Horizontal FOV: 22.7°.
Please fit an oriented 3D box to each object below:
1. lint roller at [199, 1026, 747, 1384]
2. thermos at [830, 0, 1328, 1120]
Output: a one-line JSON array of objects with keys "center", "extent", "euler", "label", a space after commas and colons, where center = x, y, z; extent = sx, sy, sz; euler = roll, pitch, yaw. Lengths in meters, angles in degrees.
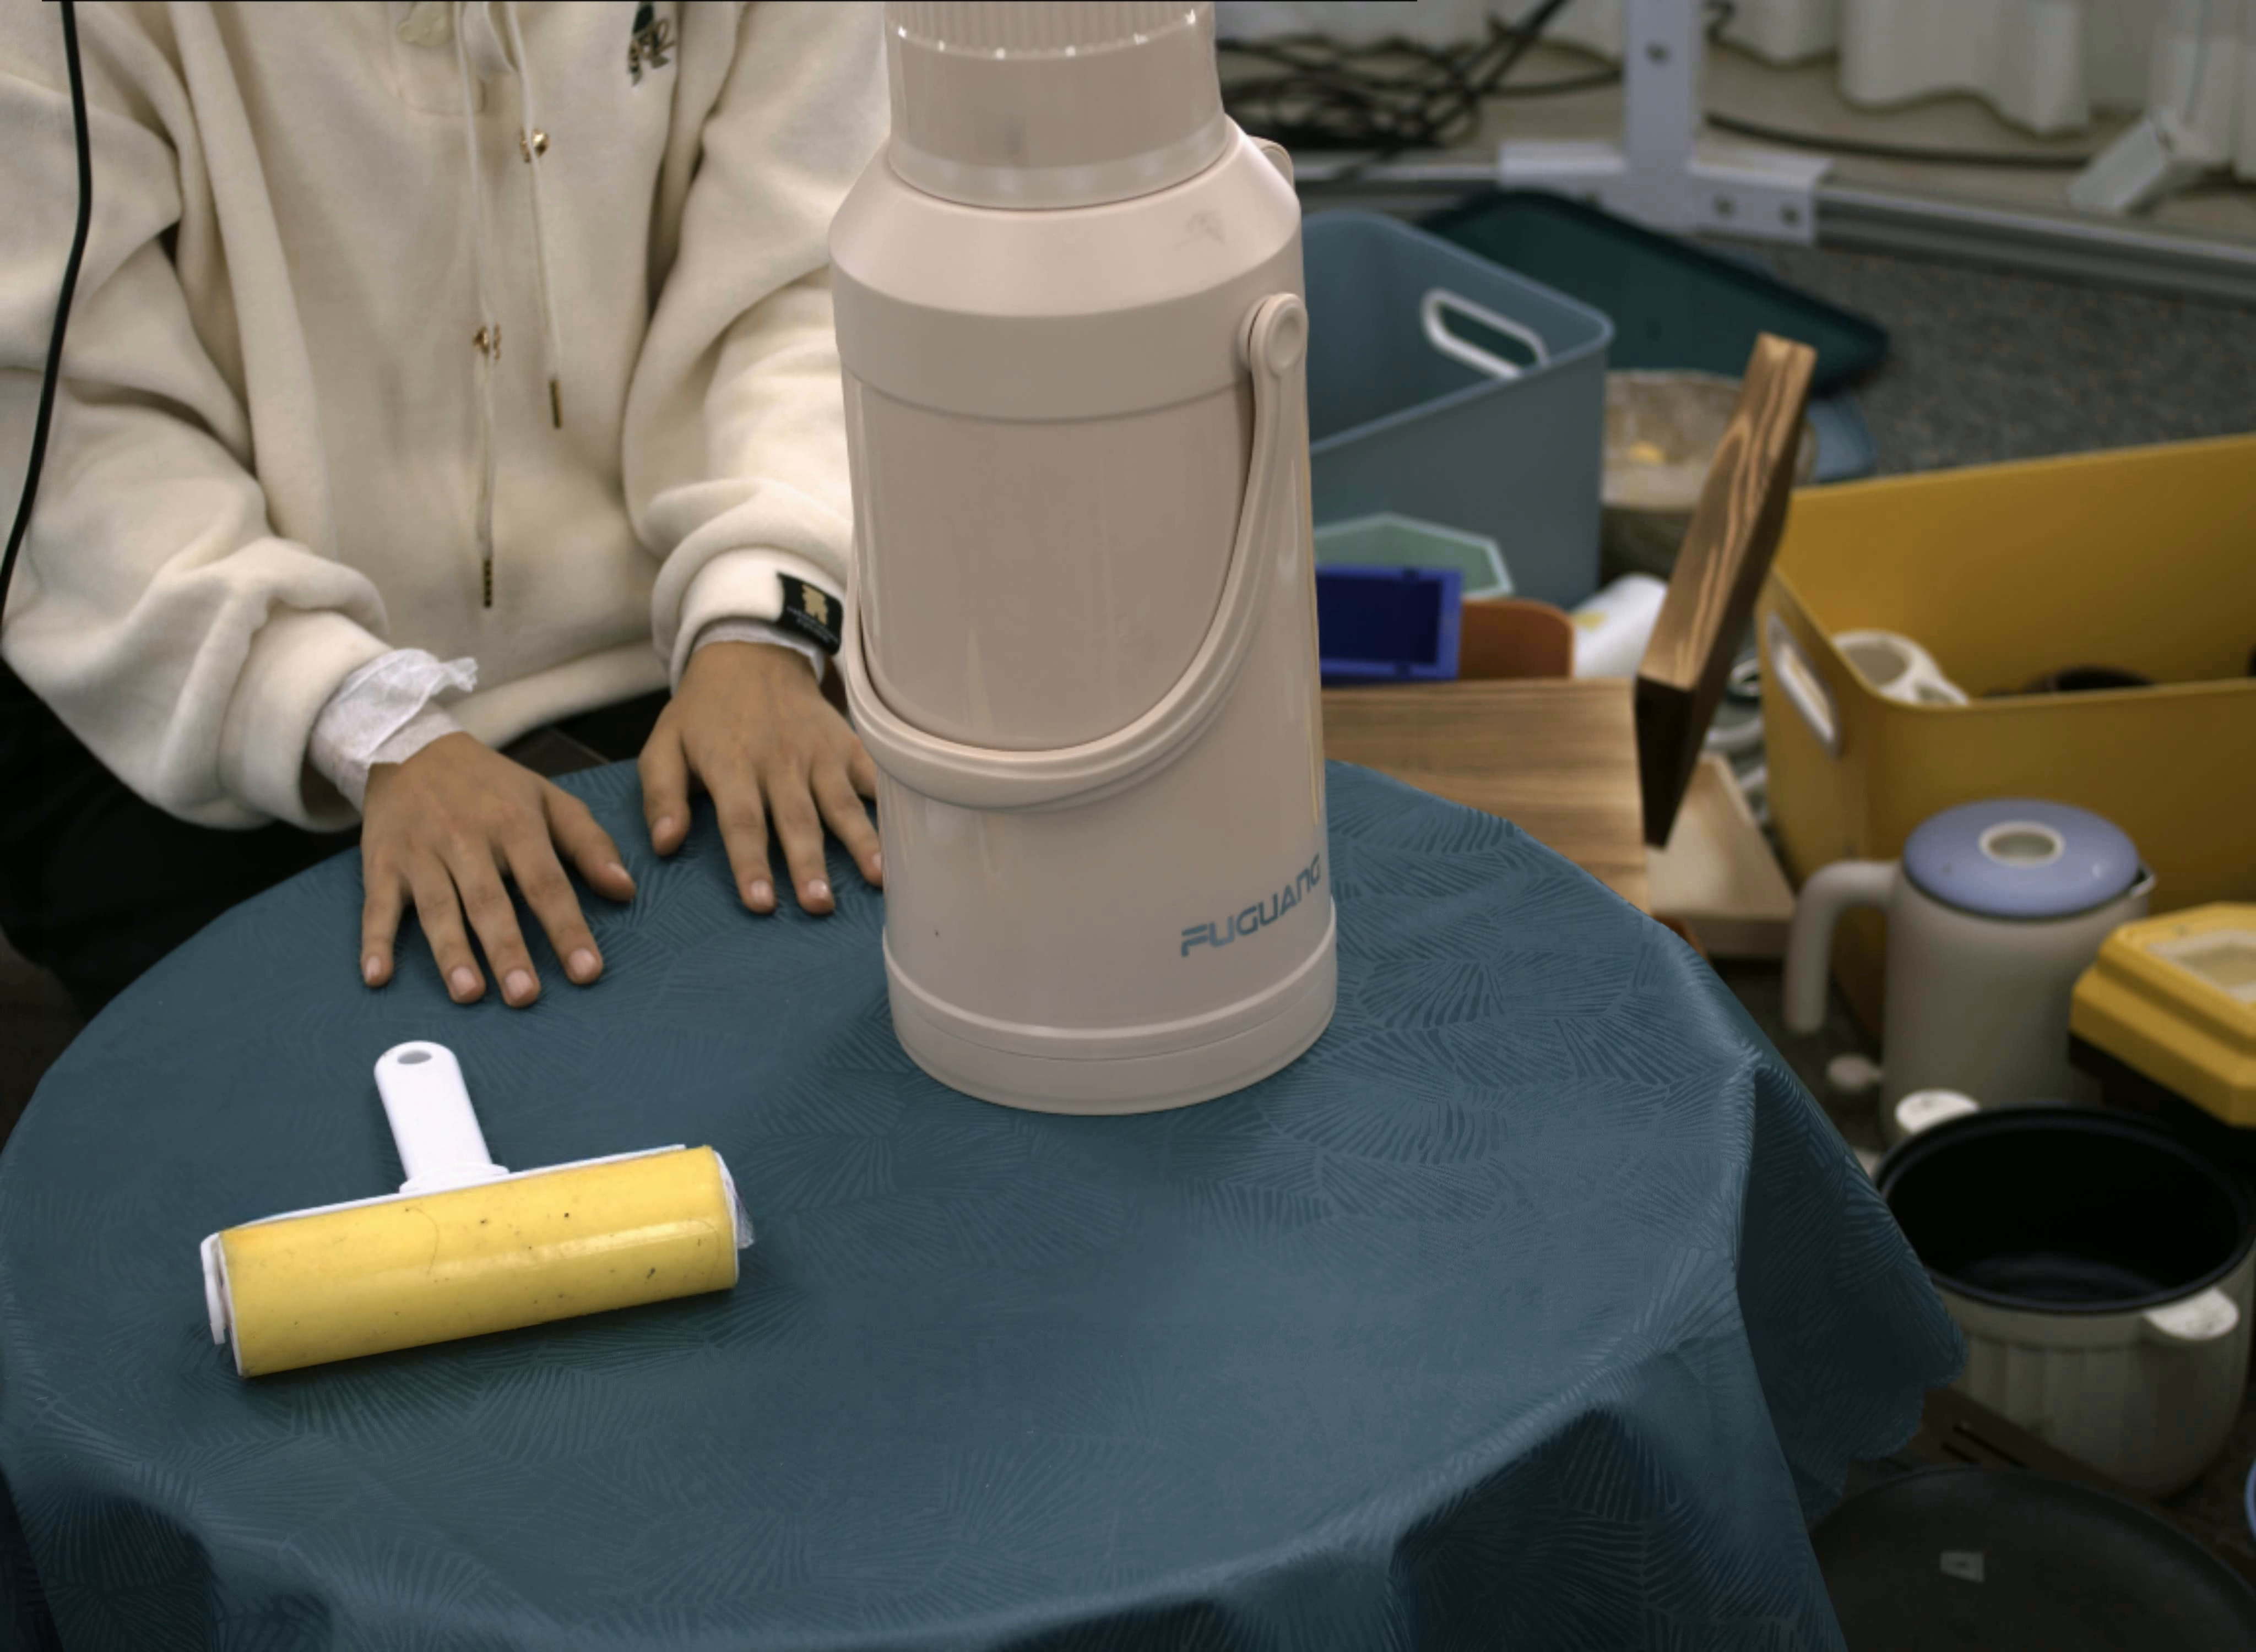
[{"center": [-0.228, 0.107, 1.856], "extent": [0.174, 0.051, 0.194], "euler": [-10, 34, -13], "label": "lint roller"}, {"center": [-0.007, -0.117, 1.899], "extent": [0.174, 0.402, 0.210], "euler": [14, 31, 32], "label": "thermos"}]
